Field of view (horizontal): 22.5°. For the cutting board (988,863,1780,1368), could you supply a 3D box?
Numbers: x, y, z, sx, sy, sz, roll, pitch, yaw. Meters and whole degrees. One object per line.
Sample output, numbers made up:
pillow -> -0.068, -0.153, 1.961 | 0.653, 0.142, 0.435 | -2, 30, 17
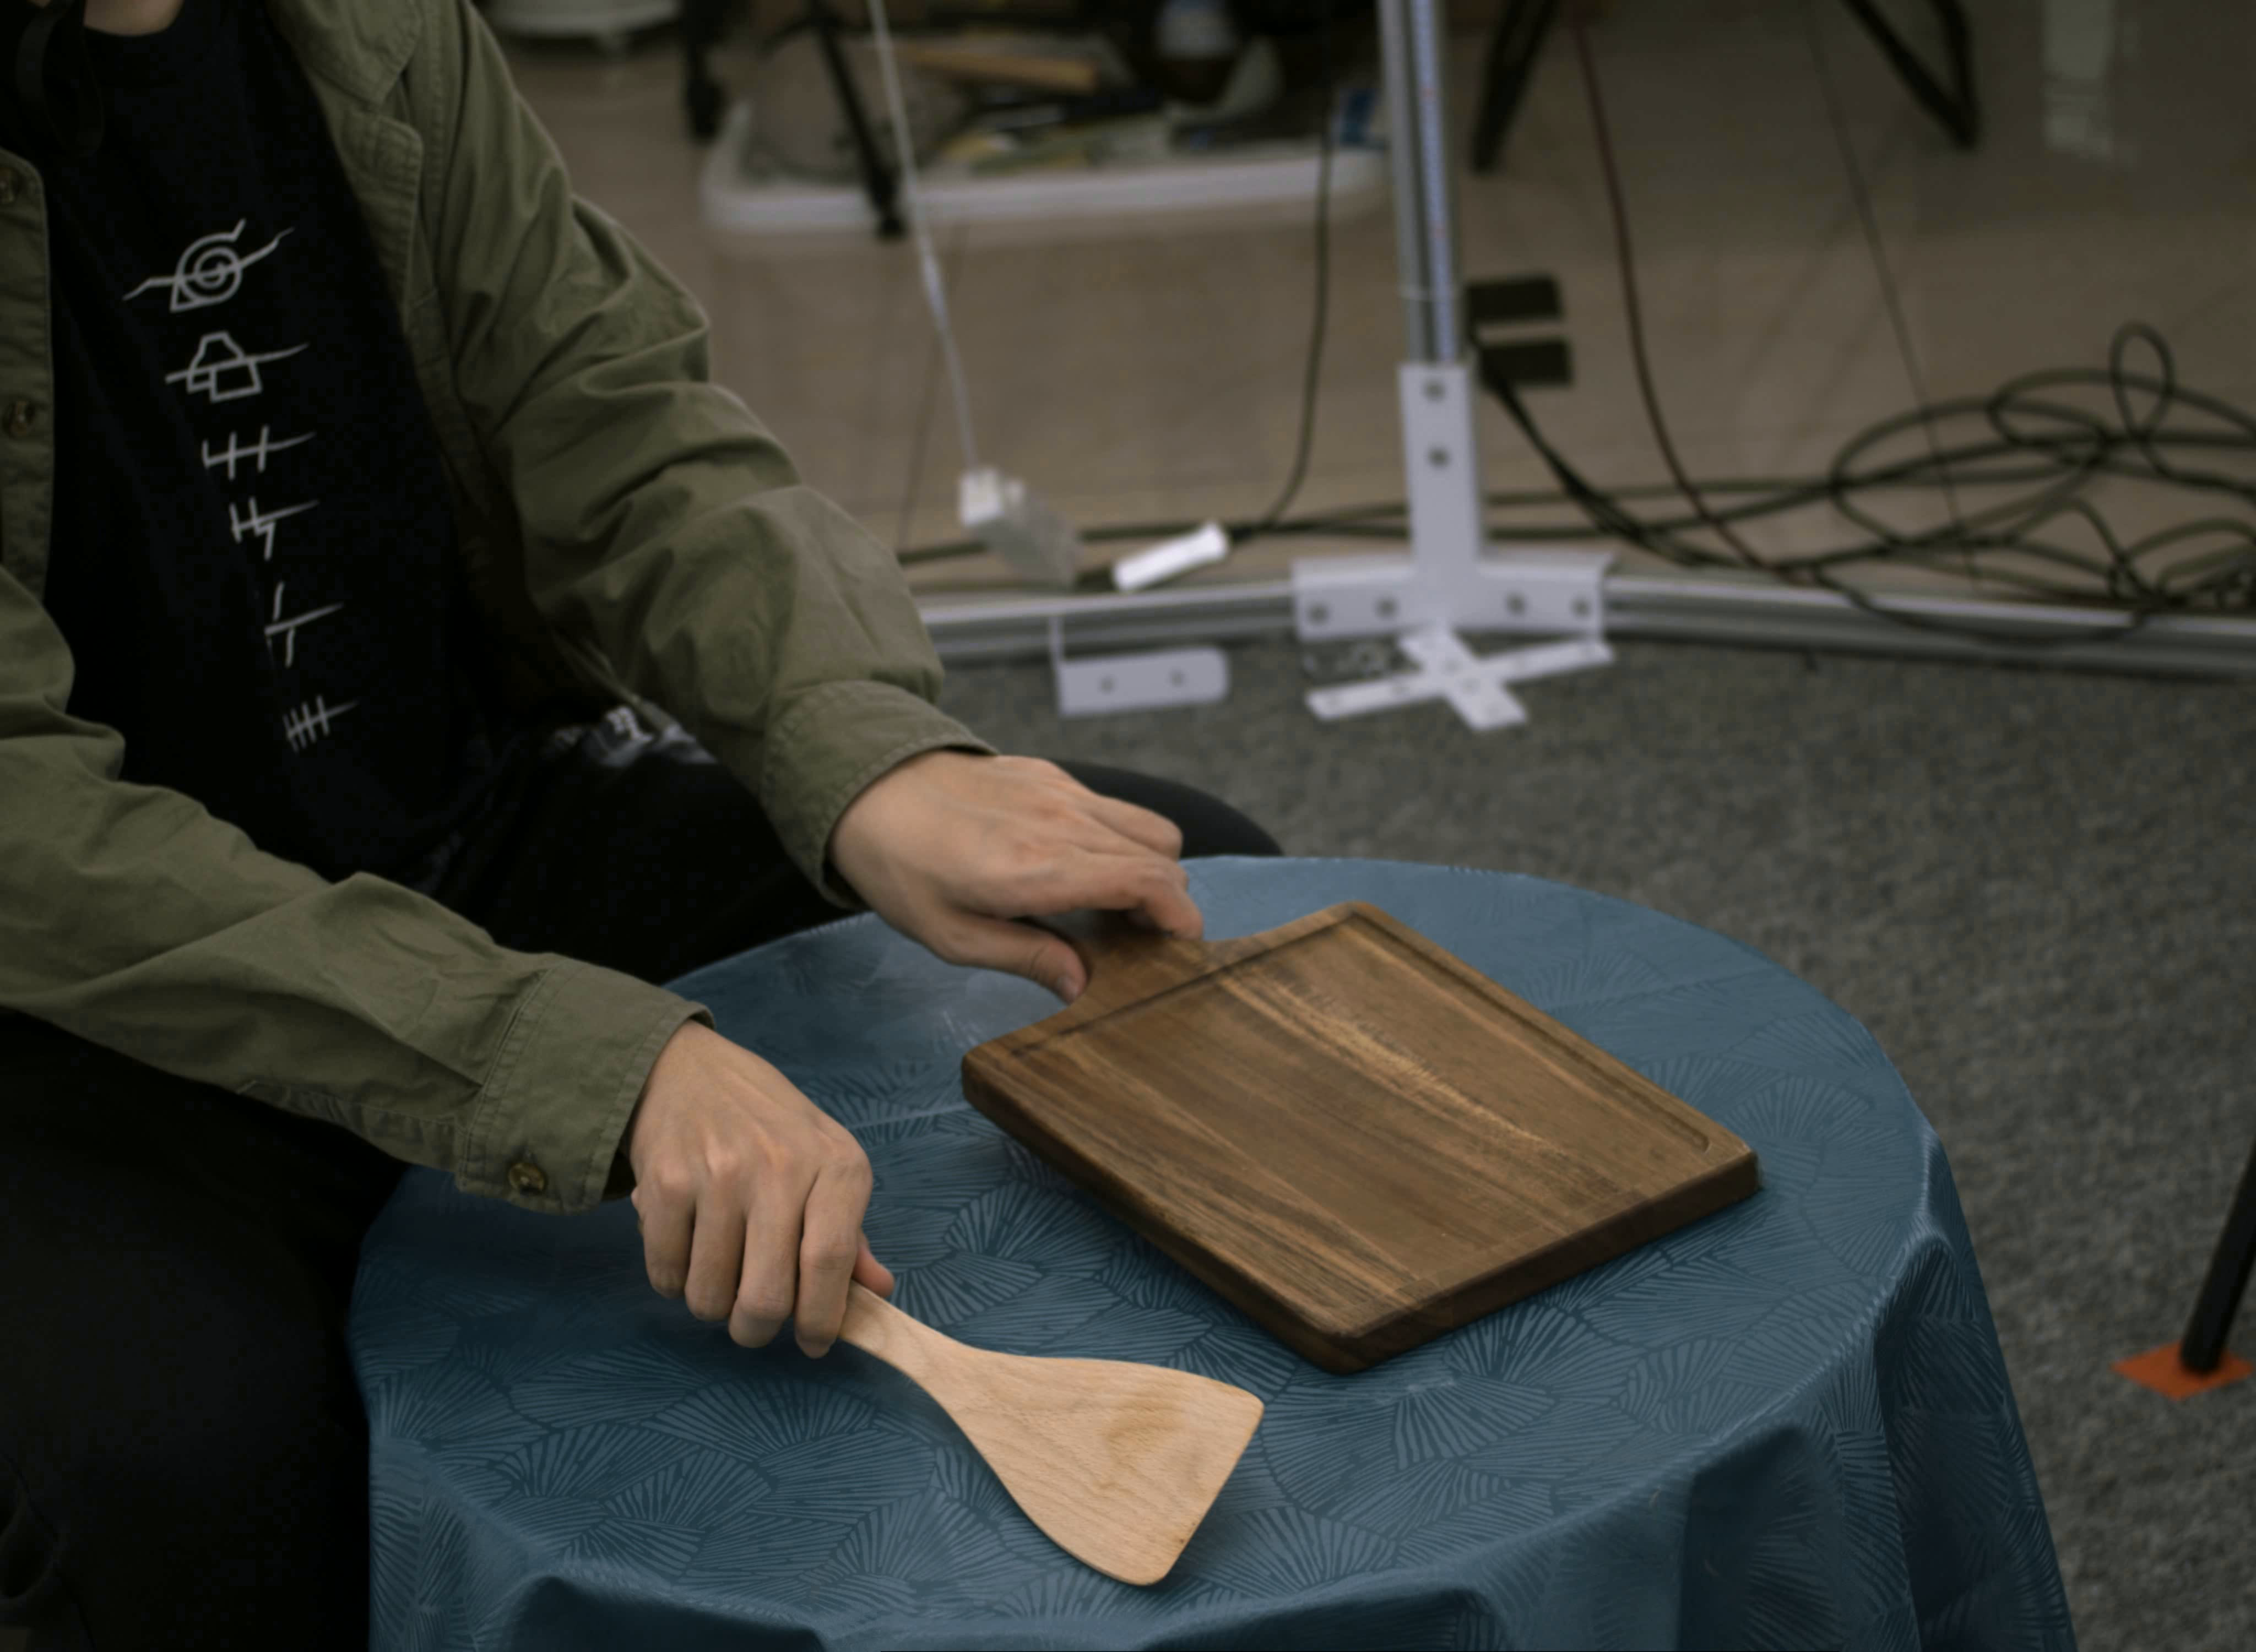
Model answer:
cutting board -> 0.067, 0.091, 2.177 | 0.200, 0.023, 0.348 | -21, 34, -28

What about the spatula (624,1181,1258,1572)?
spatula -> -0.076, 0.182, 2.021 | 0.324, 0.017, 0.079 | 23, 65, 43
